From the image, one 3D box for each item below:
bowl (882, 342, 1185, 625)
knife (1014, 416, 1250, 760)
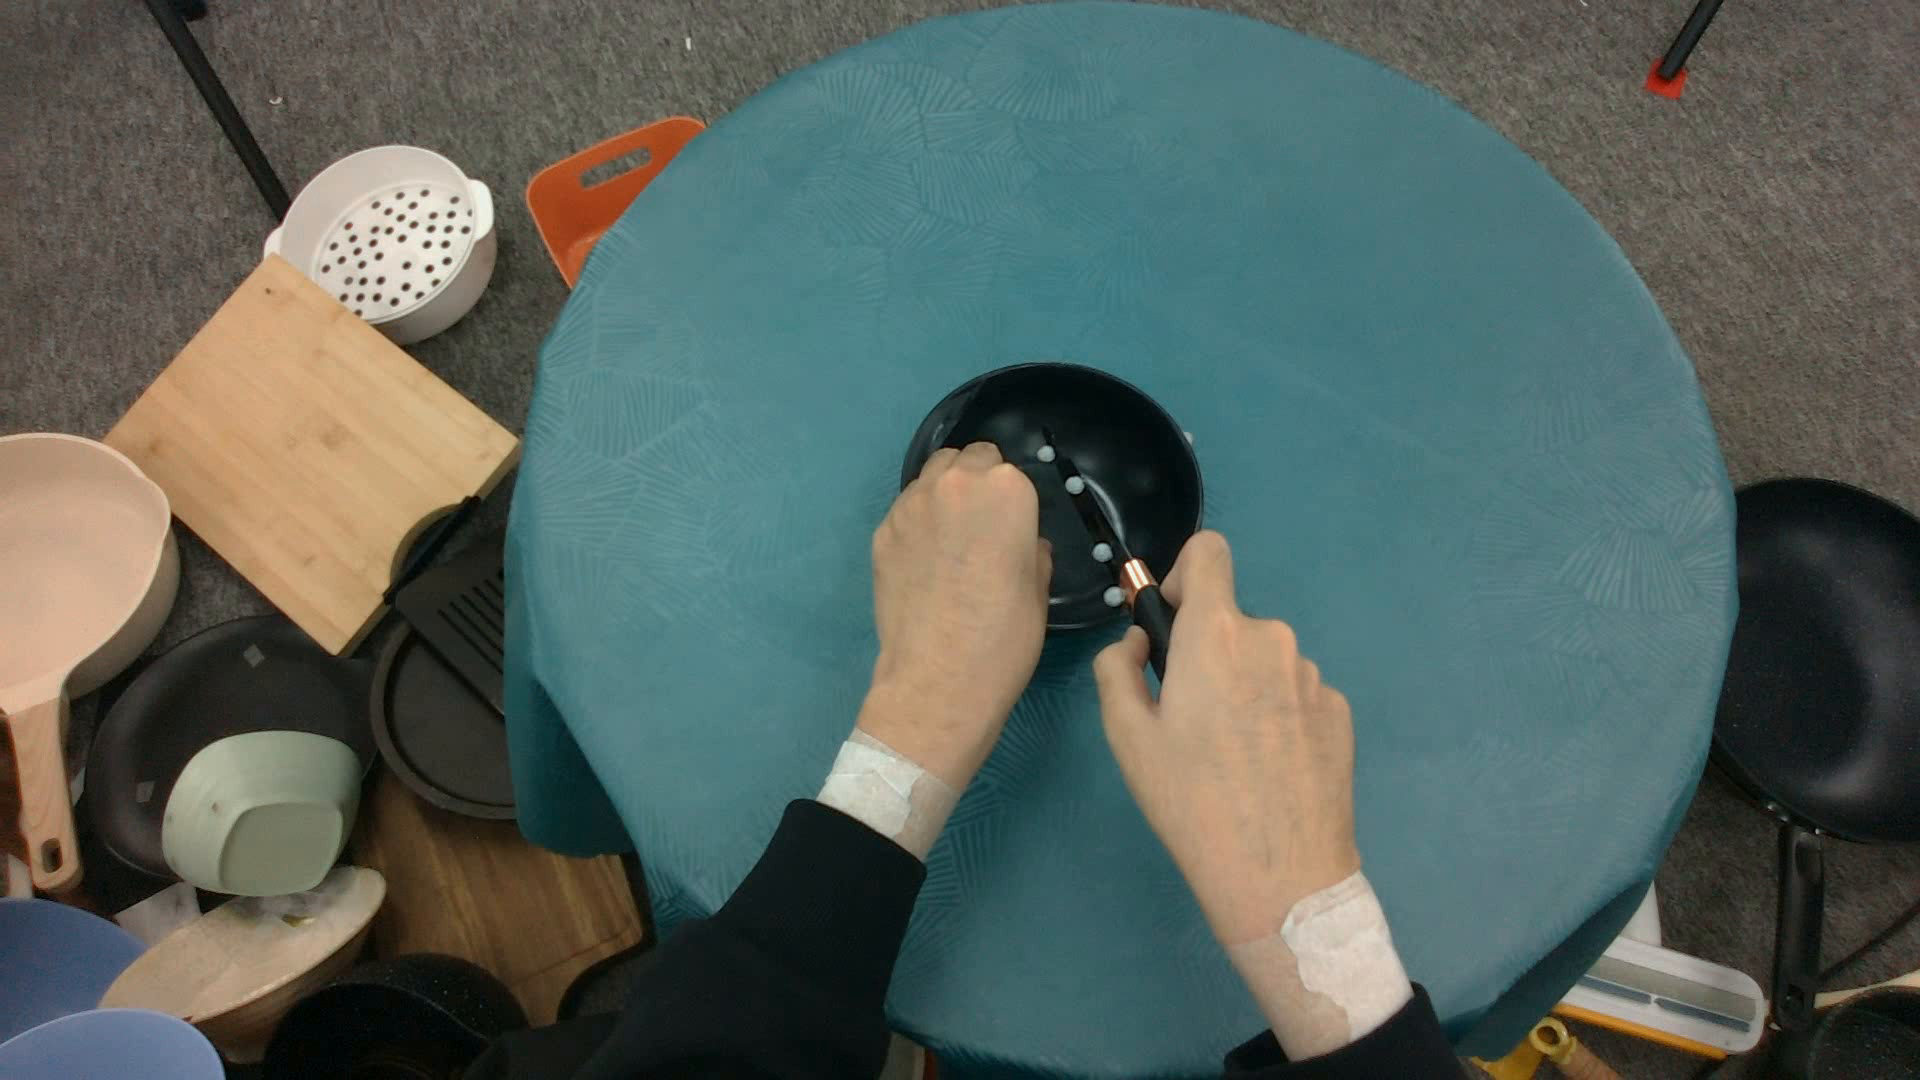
[{"bbox_3d":[0.033,-0.021,0.646,0.140,0.049,0.140,1,69,-3],"label":"bowl"},{"bbox_3d":[0.064,0.007,0.577,0.017,0.026,0.226,-9,42,-17],"label":"knife"}]
